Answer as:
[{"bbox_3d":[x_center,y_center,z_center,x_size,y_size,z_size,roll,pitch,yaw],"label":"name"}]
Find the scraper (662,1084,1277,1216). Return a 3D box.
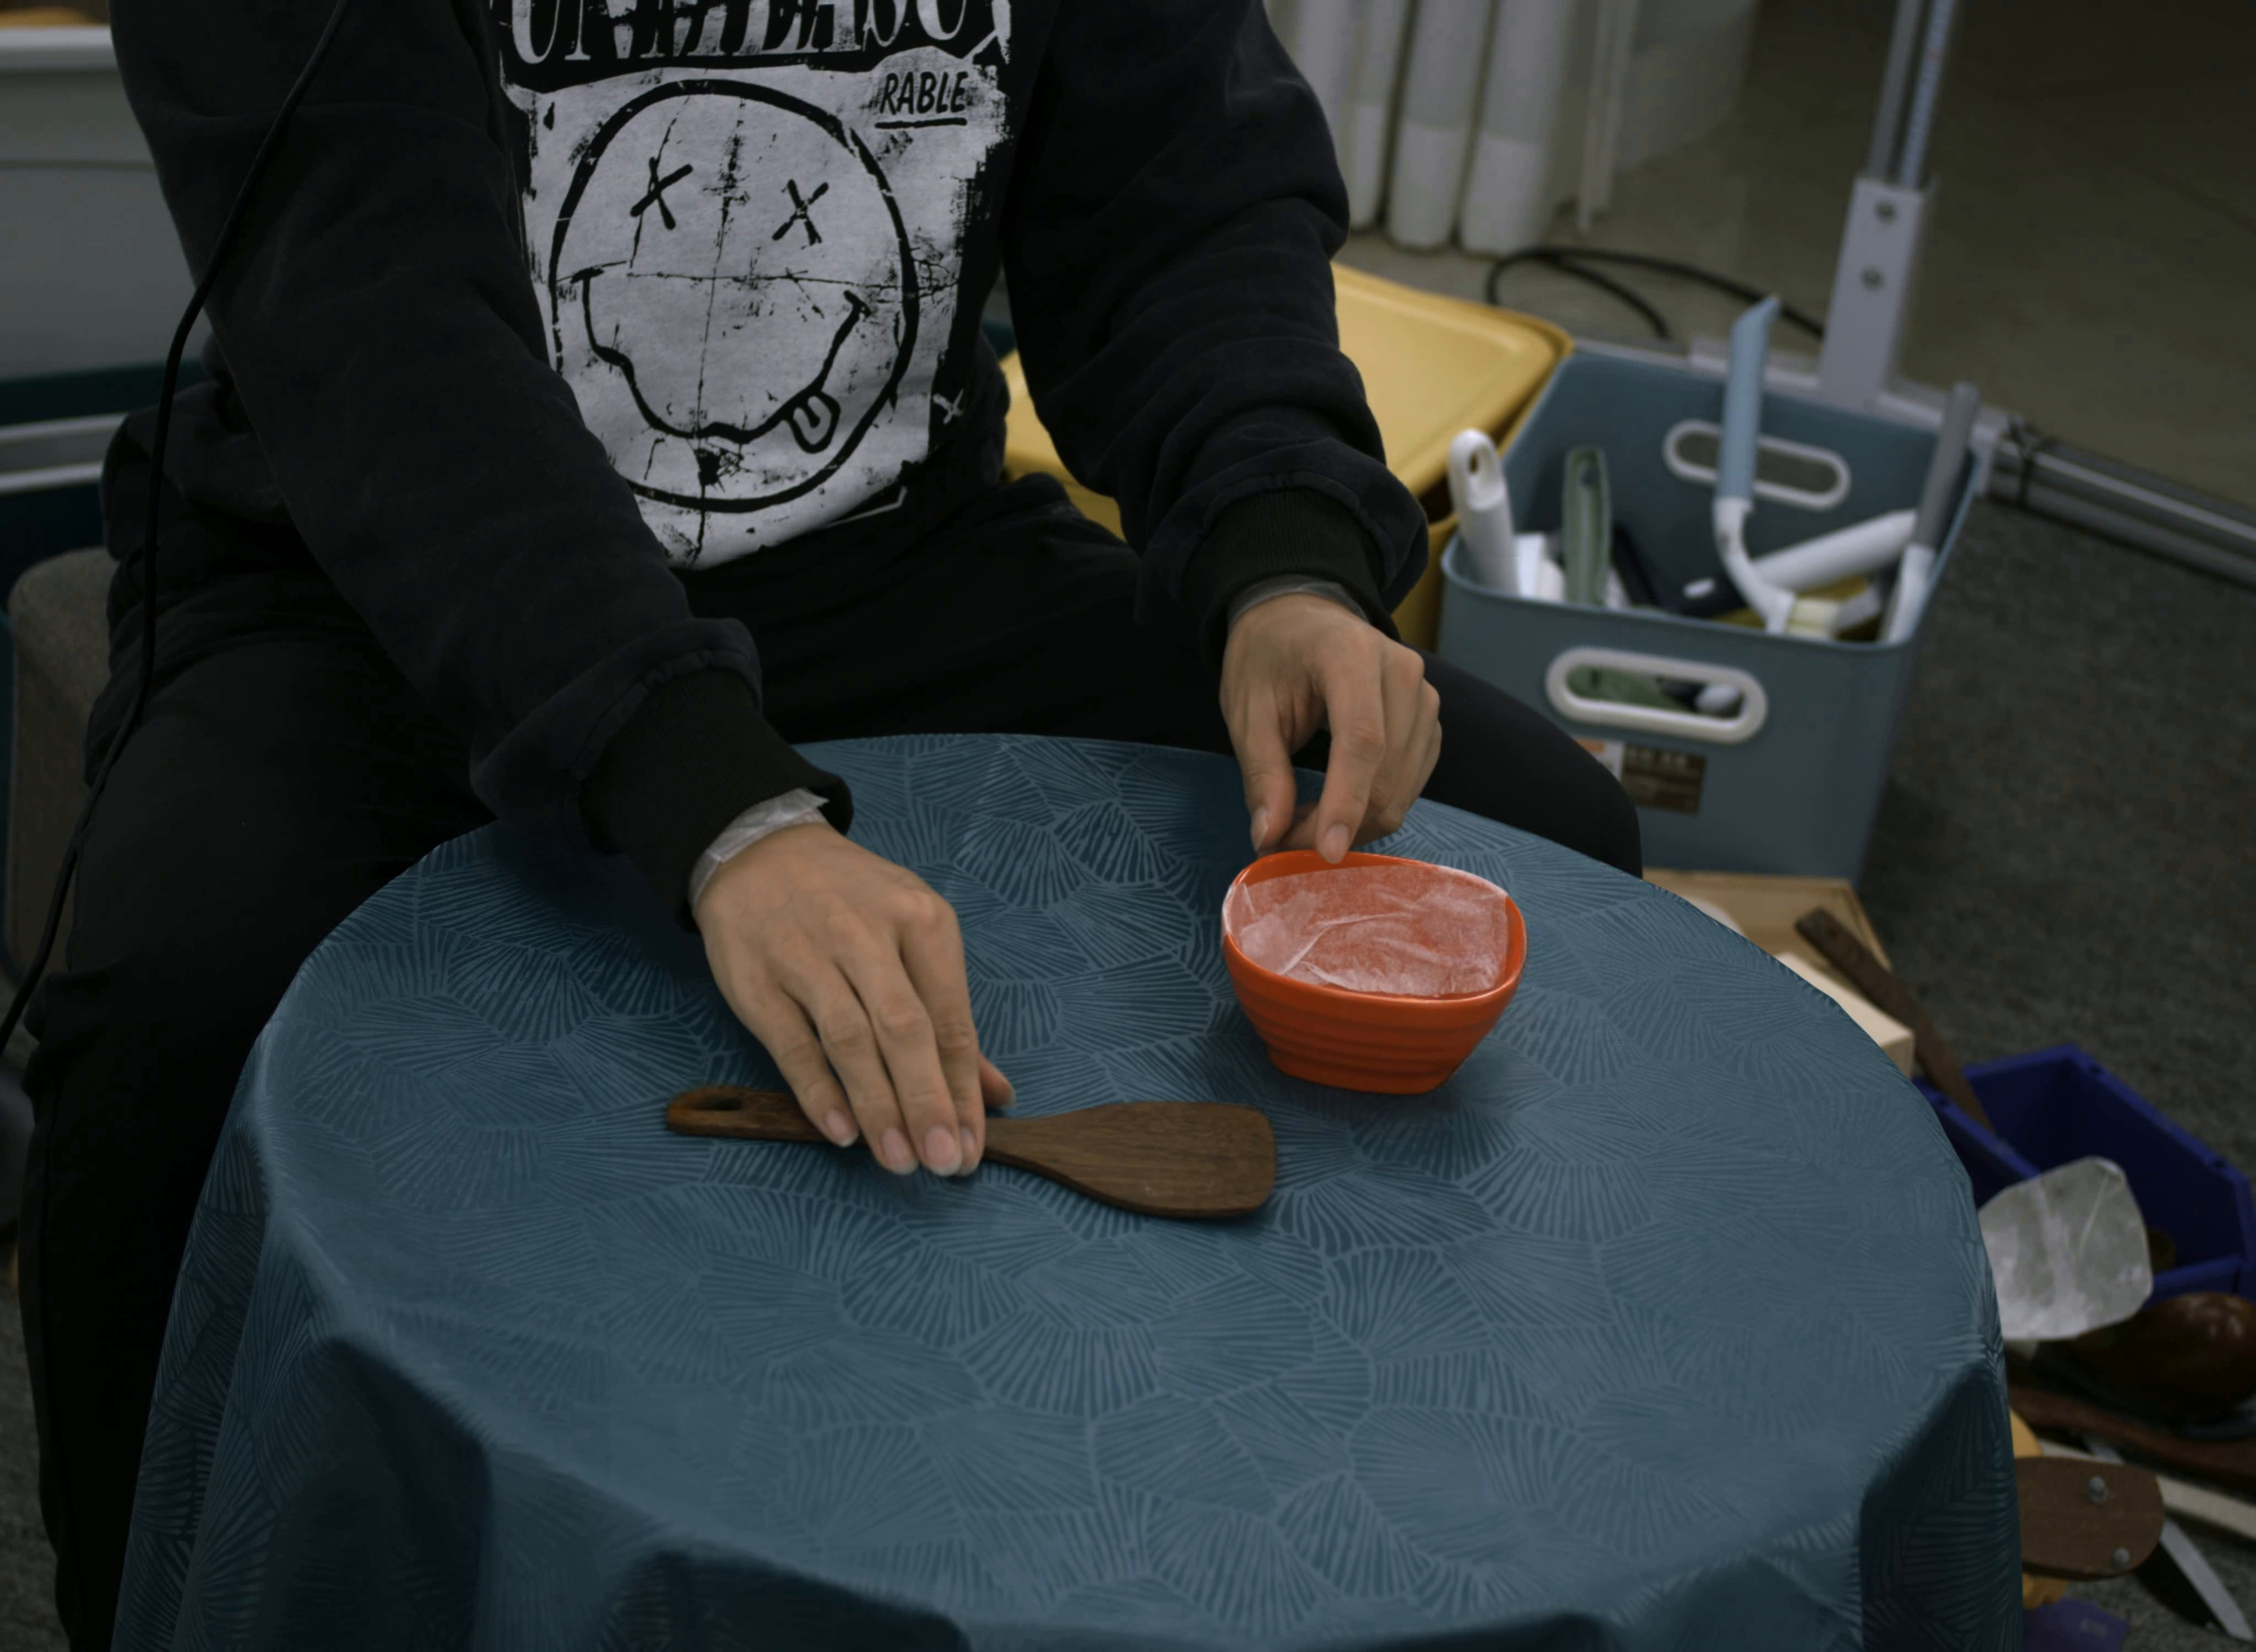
[{"bbox_3d":[-0.054,0.106,1.814,0.211,0.011,0.076,6,25,0],"label":"scraper"}]

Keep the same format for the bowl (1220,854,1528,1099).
[{"bbox_3d":[0.085,0.058,1.896,0.118,0.051,0.119,5,28,-3],"label":"bowl"}]
